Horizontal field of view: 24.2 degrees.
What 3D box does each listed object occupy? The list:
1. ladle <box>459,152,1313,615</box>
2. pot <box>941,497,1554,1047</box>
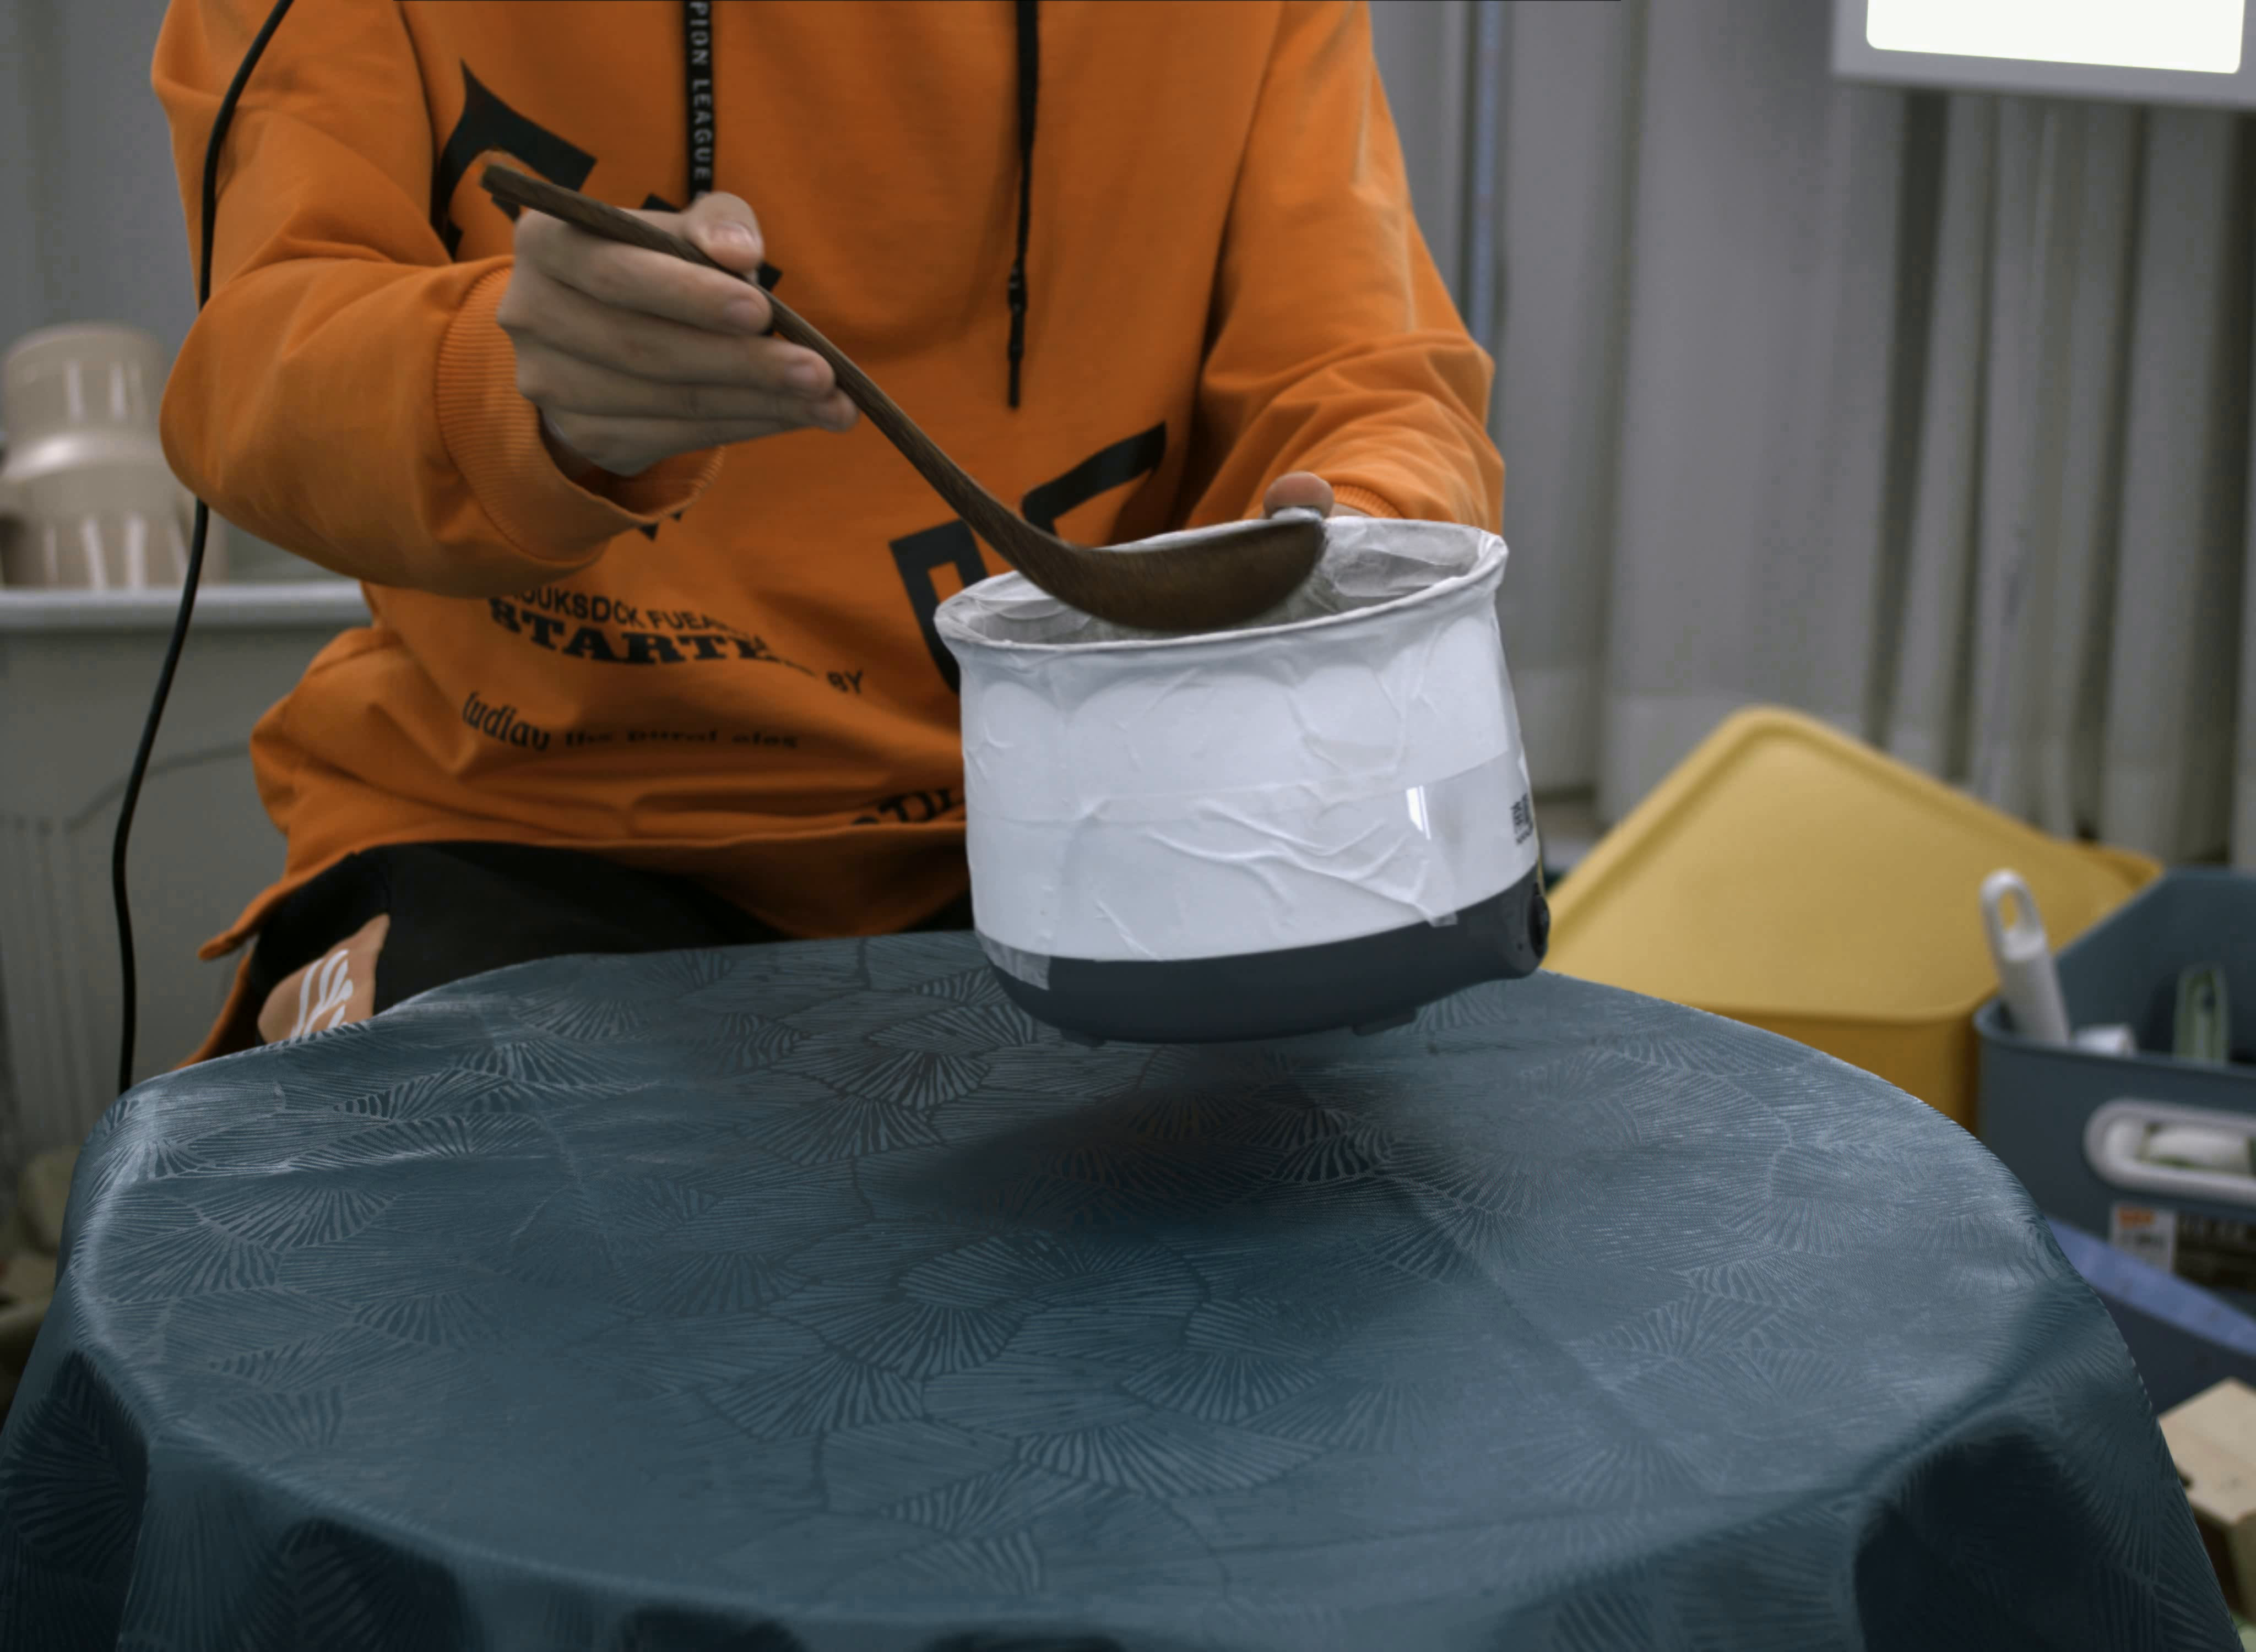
[{"bbox_3d":[-0.069,-0.147,1.582,0.275,0.071,0.075,35,-2,-10],"label":"ladle"},{"bbox_3d":[0.044,-0.021,1.646,0.177,0.138,0.233,-3,14,14],"label":"pot"}]
